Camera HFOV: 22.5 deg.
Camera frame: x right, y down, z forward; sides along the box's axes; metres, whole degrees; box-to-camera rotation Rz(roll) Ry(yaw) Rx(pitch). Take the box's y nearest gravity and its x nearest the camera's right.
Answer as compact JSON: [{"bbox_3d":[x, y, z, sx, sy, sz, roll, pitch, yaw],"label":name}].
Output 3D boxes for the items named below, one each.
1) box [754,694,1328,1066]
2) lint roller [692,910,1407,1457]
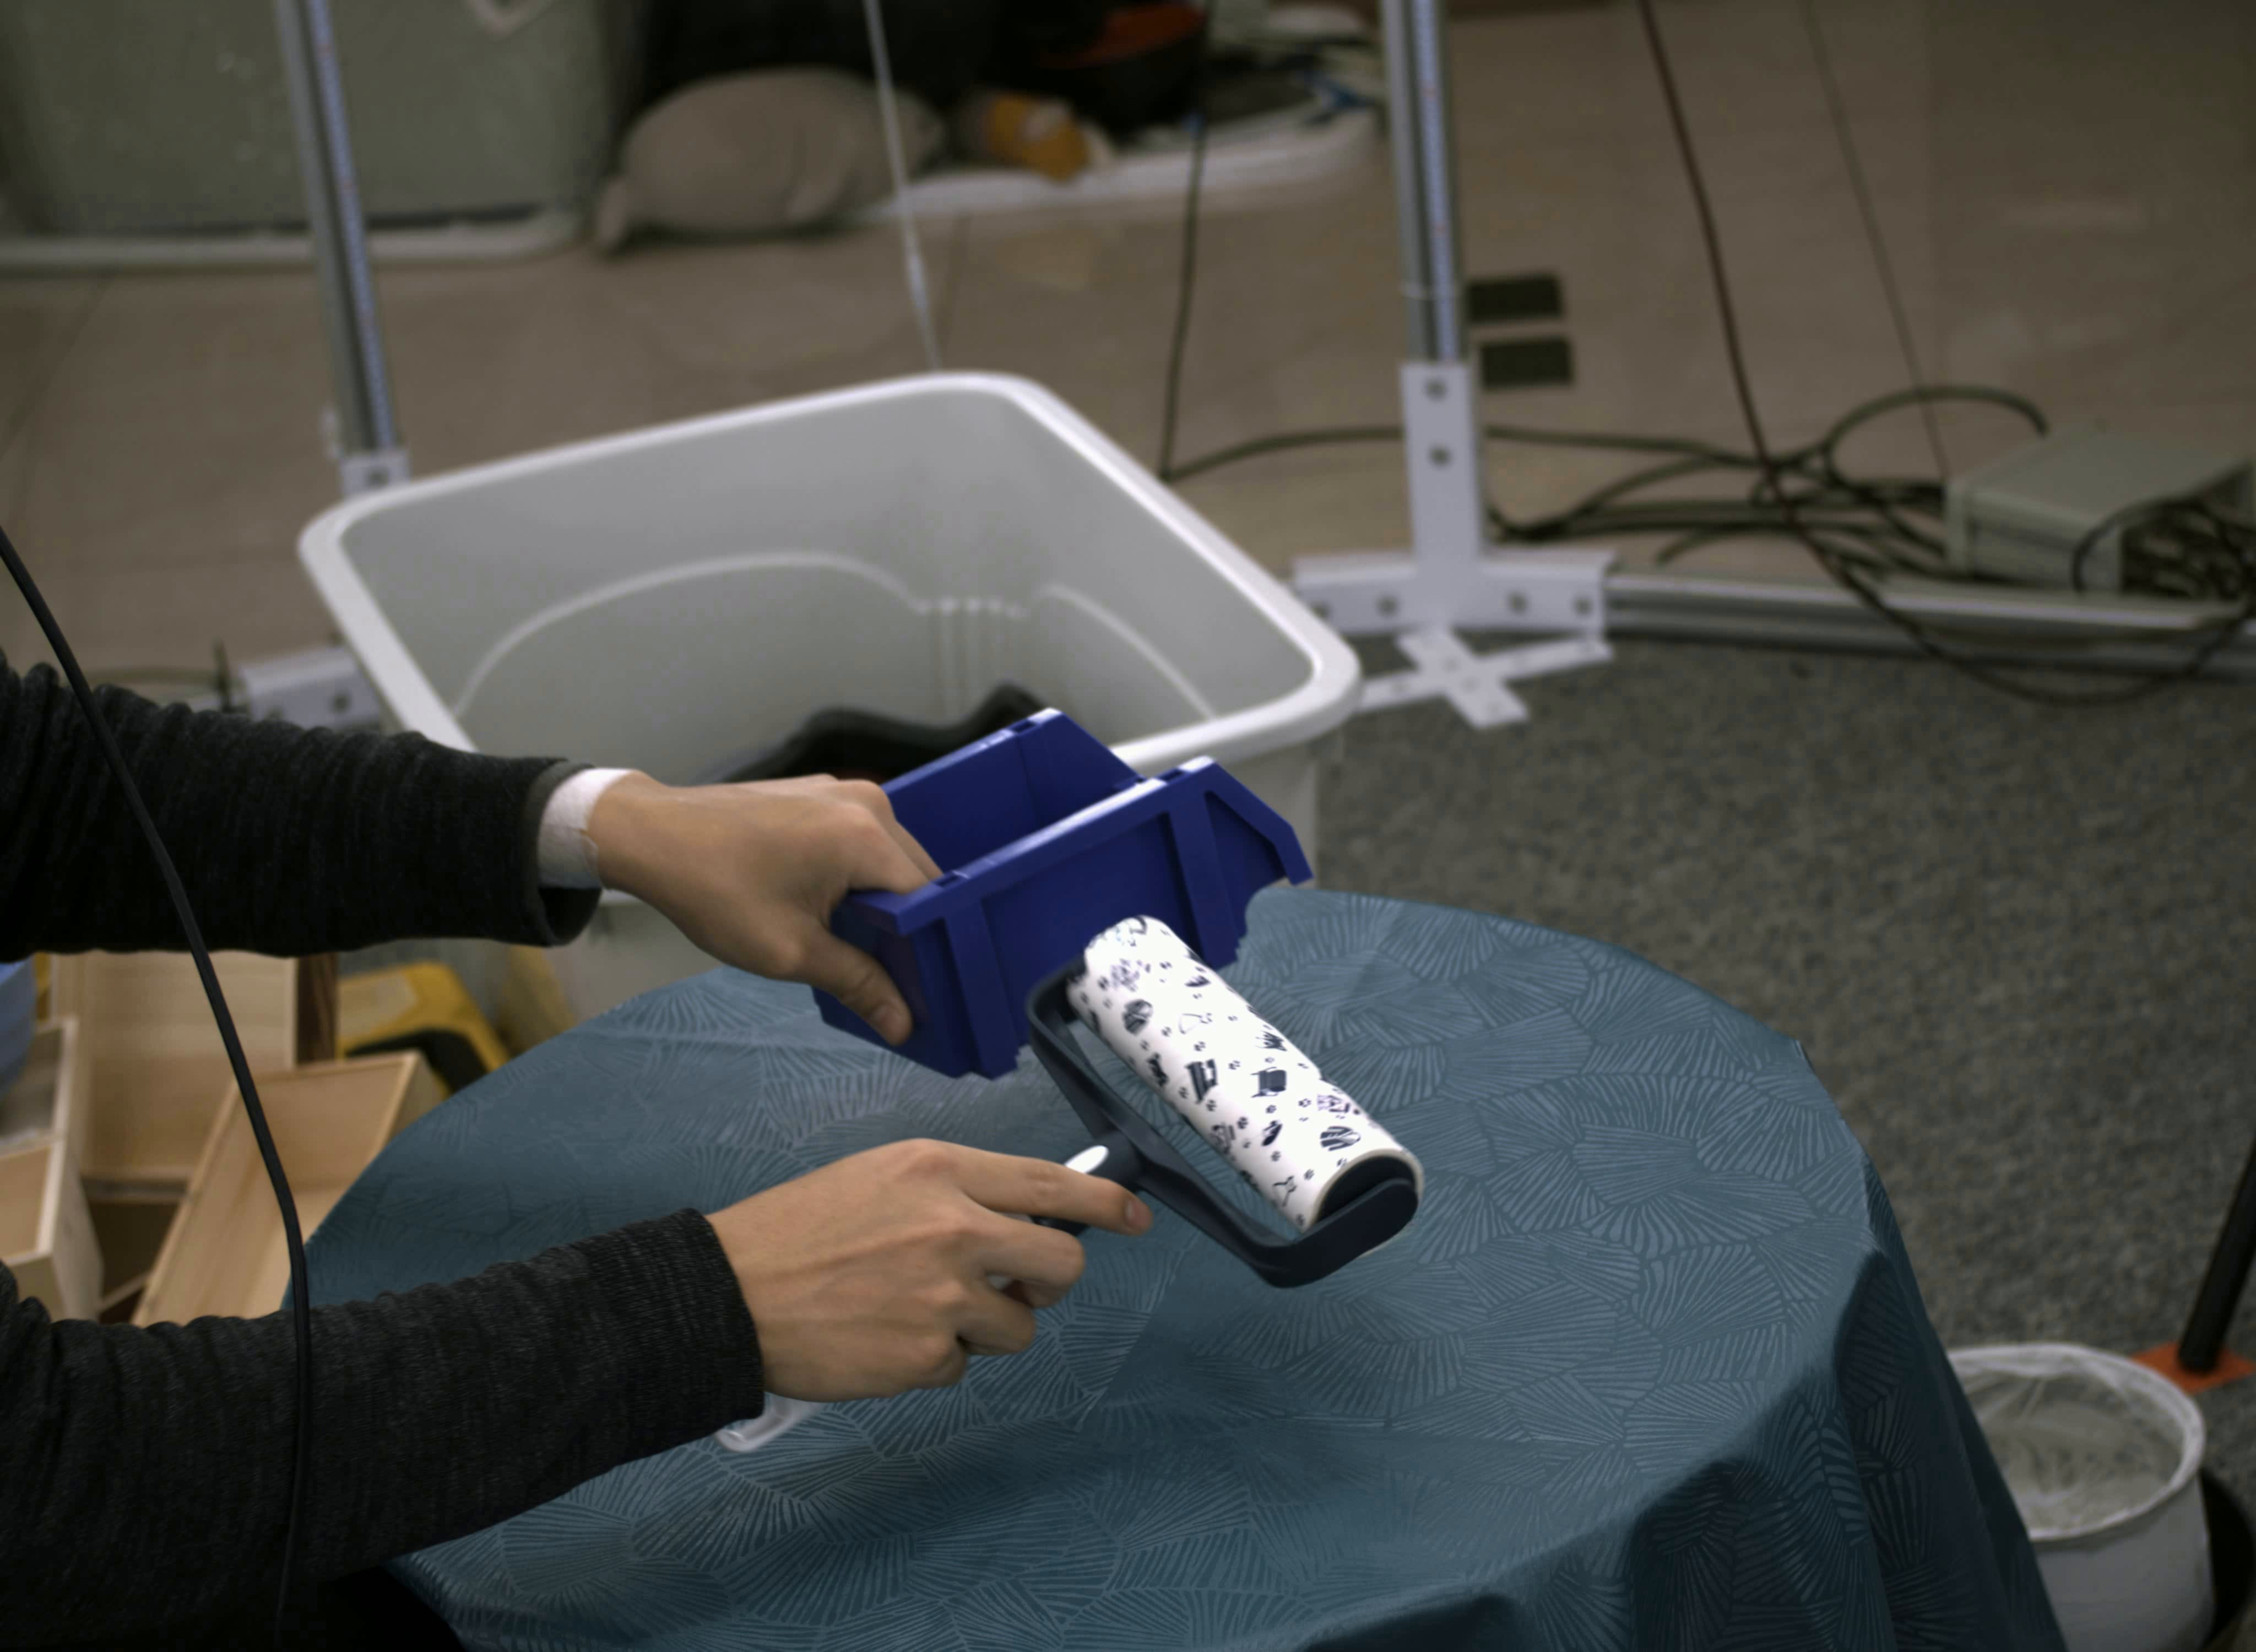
[{"bbox_3d":[-0.033,0.016,2.185,0.178,0.083,0.123,-27,24,-24],"label":"box"},{"bbox_3d":[-0.046,0.141,1.969,0.245,0.051,0.174,-32,48,-16],"label":"lint roller"}]
